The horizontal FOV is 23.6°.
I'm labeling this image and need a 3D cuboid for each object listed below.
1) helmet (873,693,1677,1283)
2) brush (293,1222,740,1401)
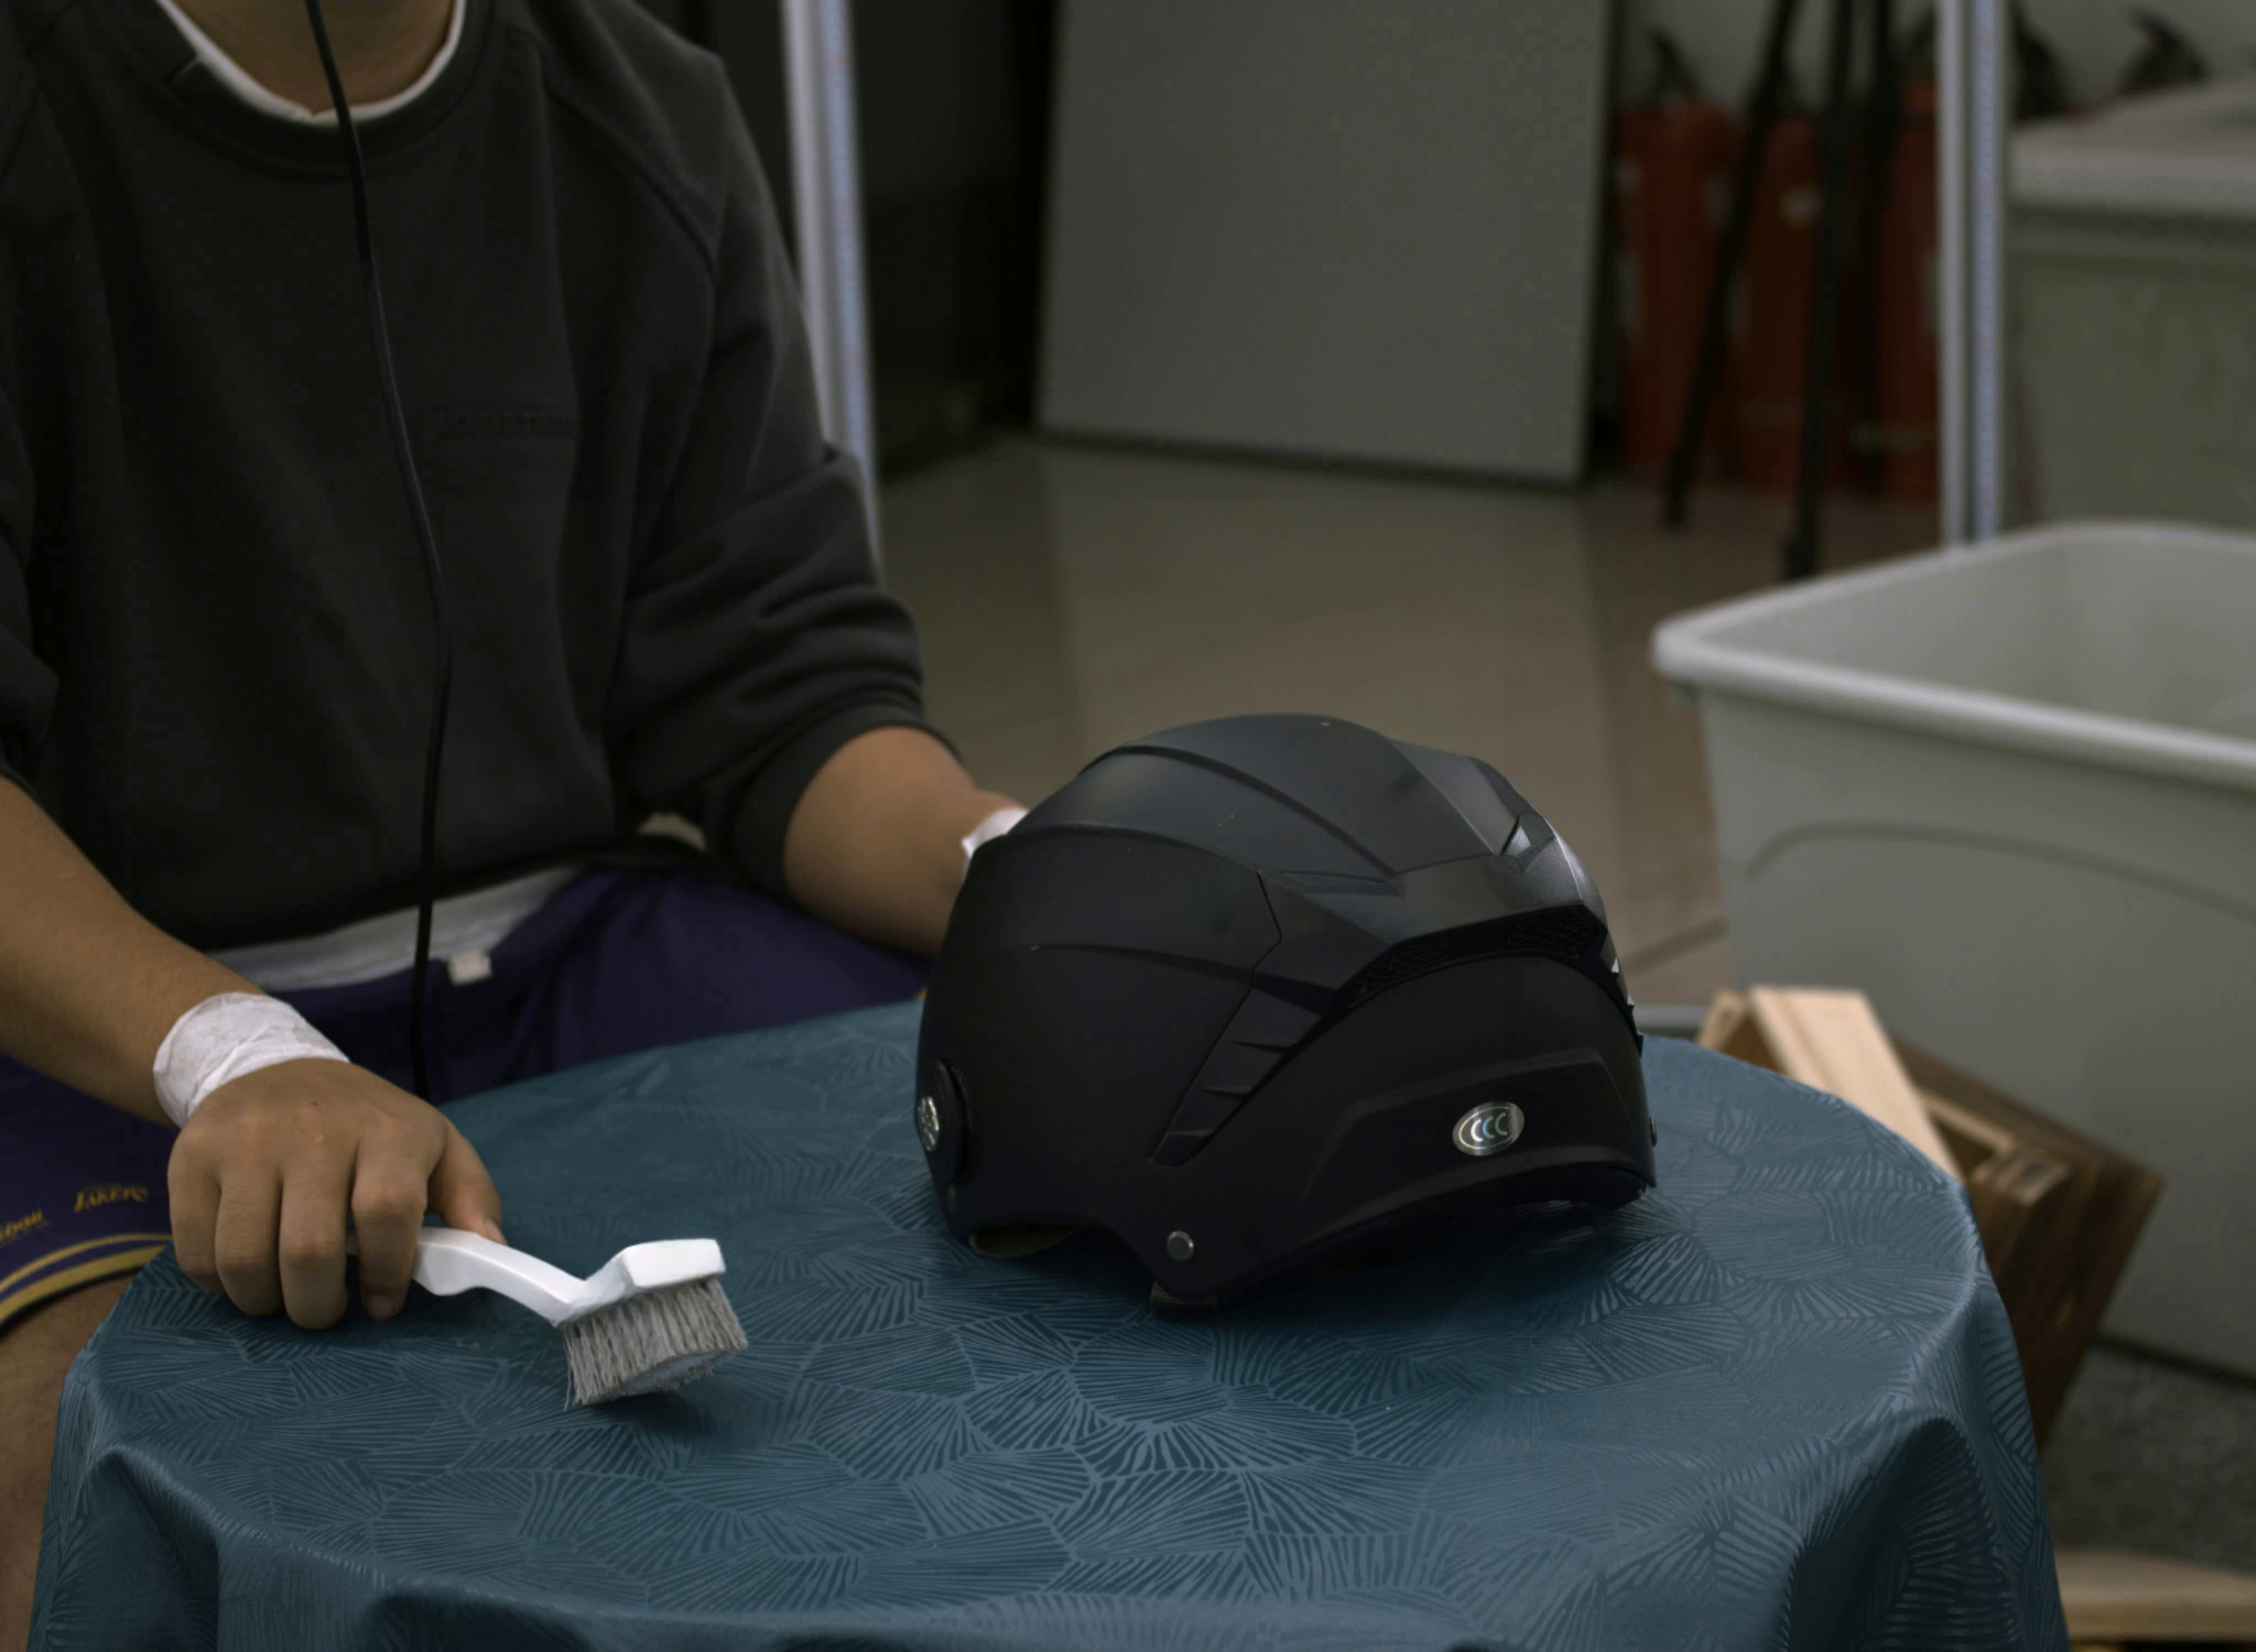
[{"bbox_3d":[0.049,0.045,1.729,0.241,0.174,0.279,-10,17,-25],"label":"helmet"},{"bbox_3d":[-0.191,0.150,1.659,0.033,0.051,0.246,-10,1,-35],"label":"brush"}]
